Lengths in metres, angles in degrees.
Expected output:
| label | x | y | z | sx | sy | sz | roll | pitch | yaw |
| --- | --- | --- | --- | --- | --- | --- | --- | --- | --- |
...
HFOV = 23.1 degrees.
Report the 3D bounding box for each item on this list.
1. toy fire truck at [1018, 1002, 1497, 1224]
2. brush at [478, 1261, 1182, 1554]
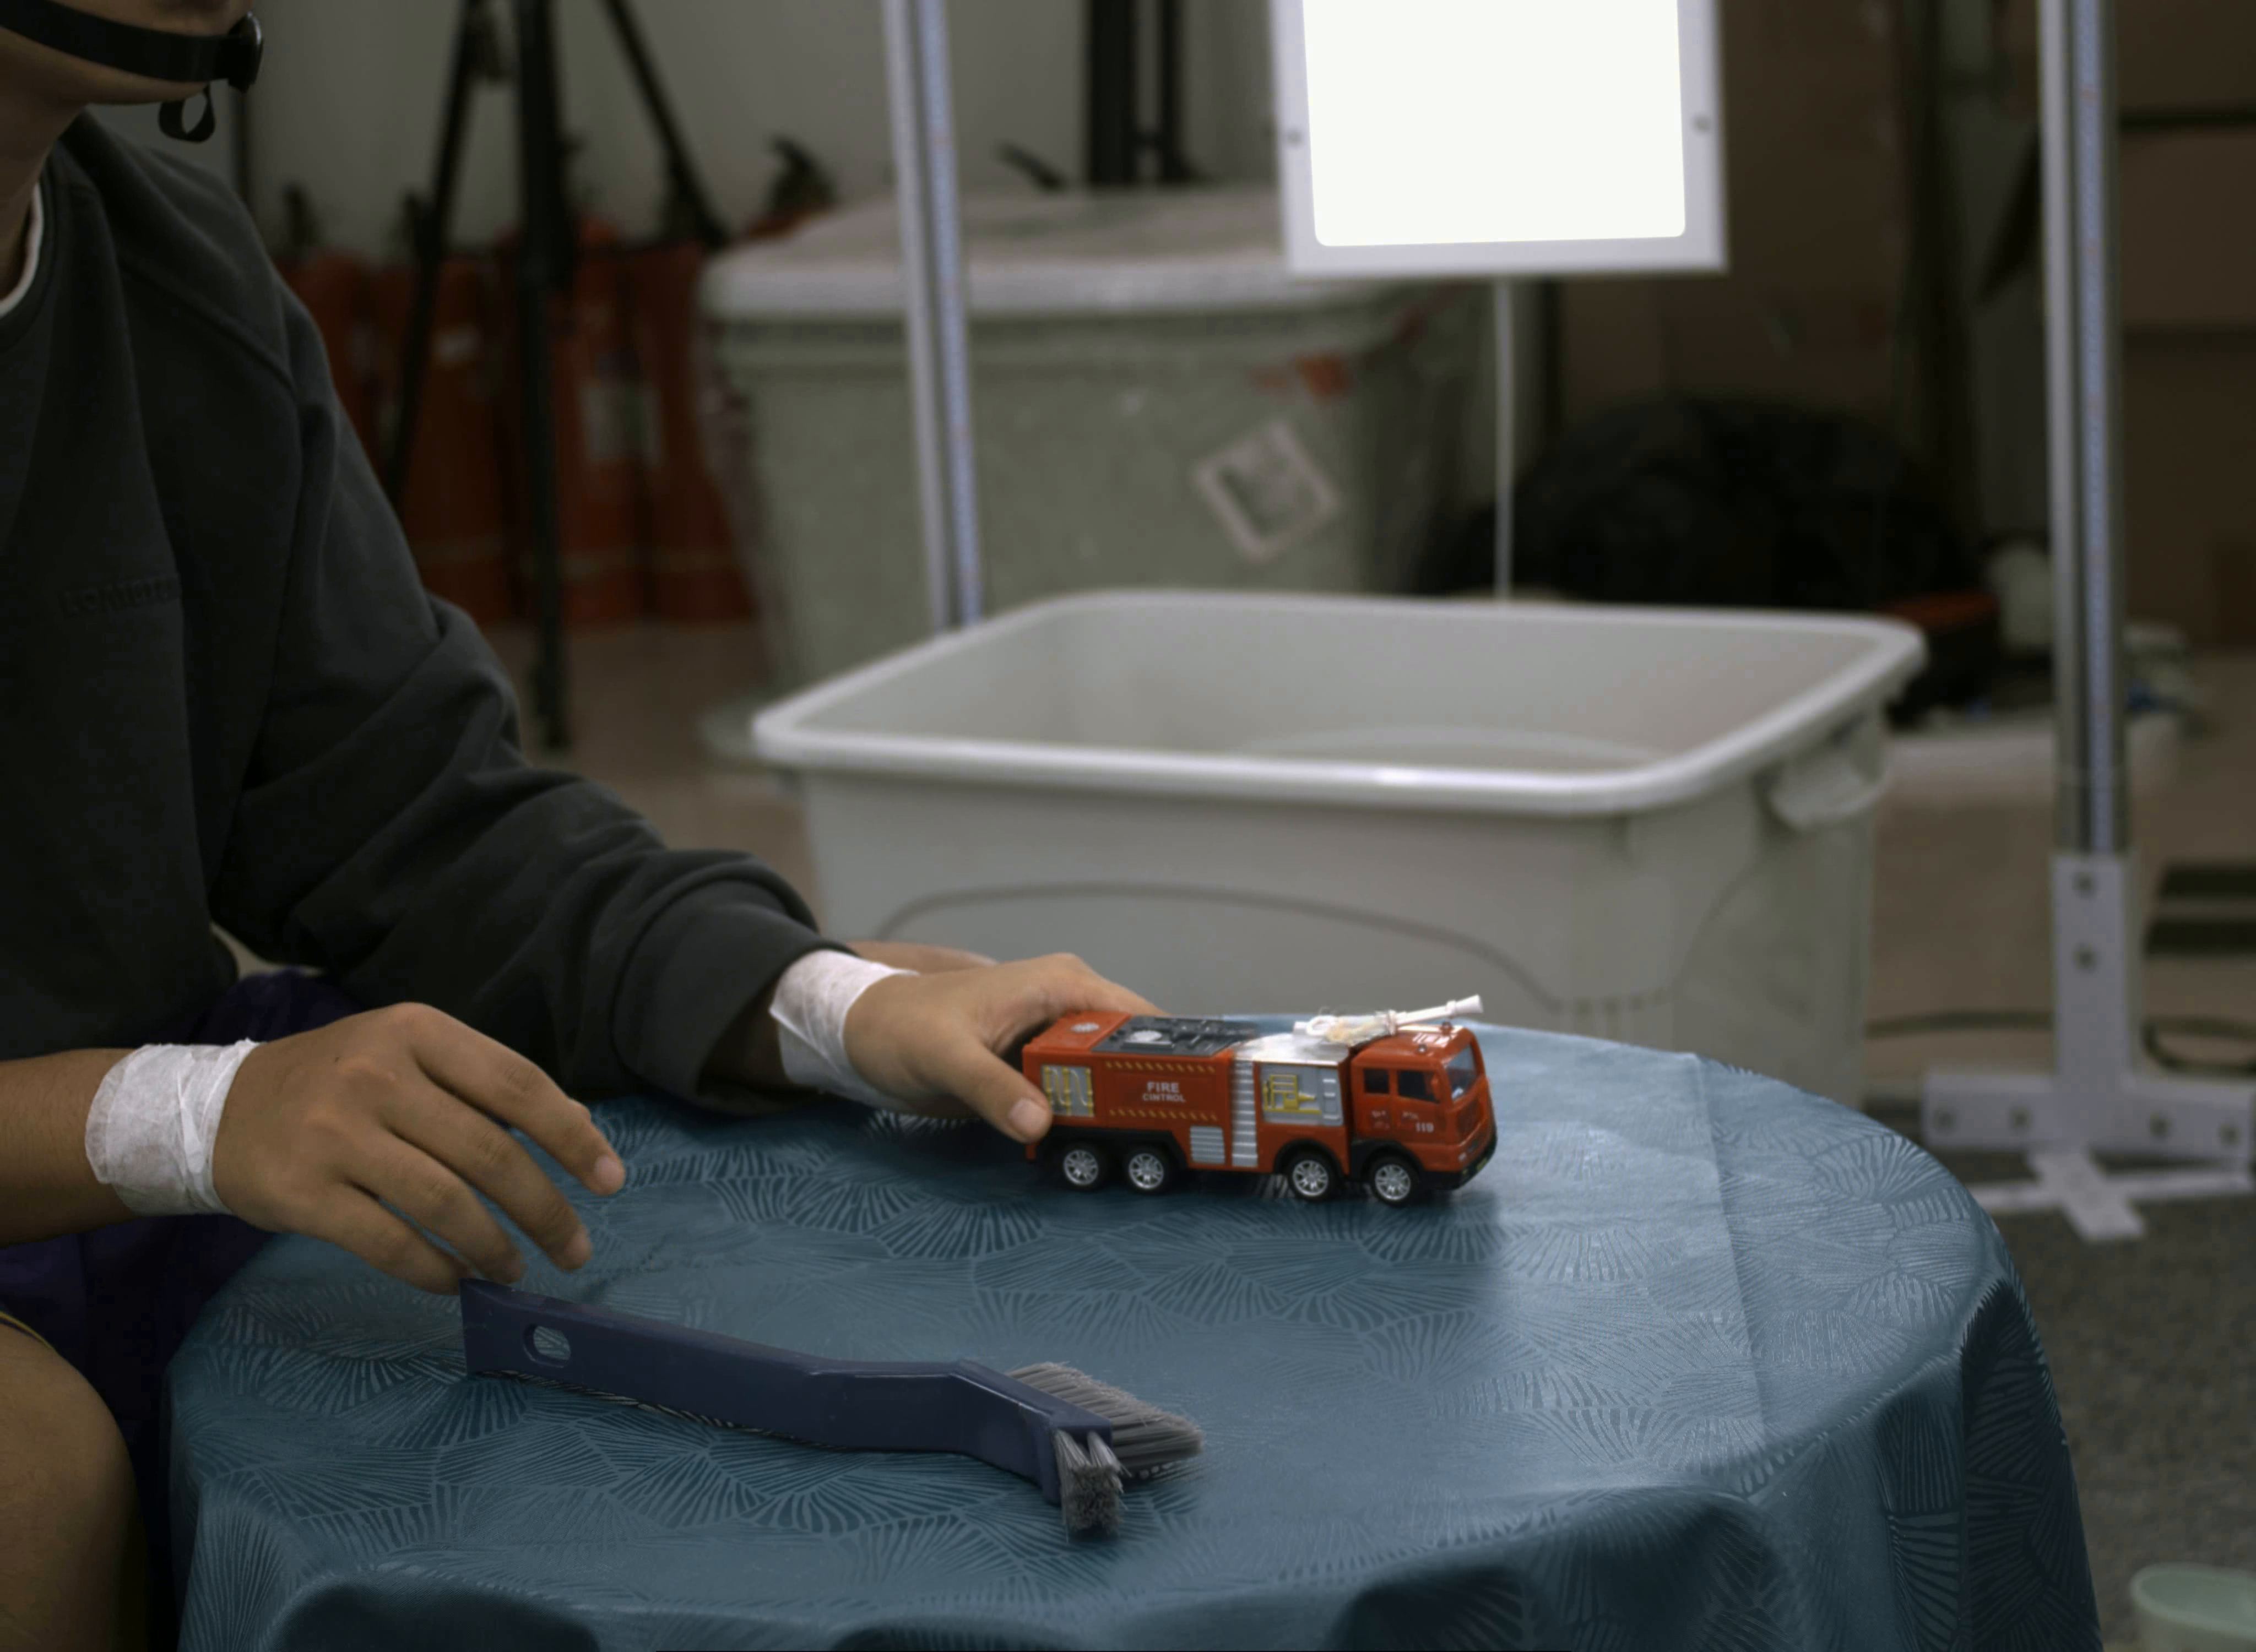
| label | x | y | z | sx | sy | sz | roll | pitch | yaw |
| --- | --- | --- | --- | --- | --- | --- | --- | --- | --- |
| toy fire truck | 0.045 | 0.094 | 1.887 | 0.170 | 0.070 | 0.053 | 0 | 15 | 23 |
| brush | -0.107 | 0.173 | 1.678 | 0.278 | 0.033 | 0.093 | 5 | 18 | 33 |
